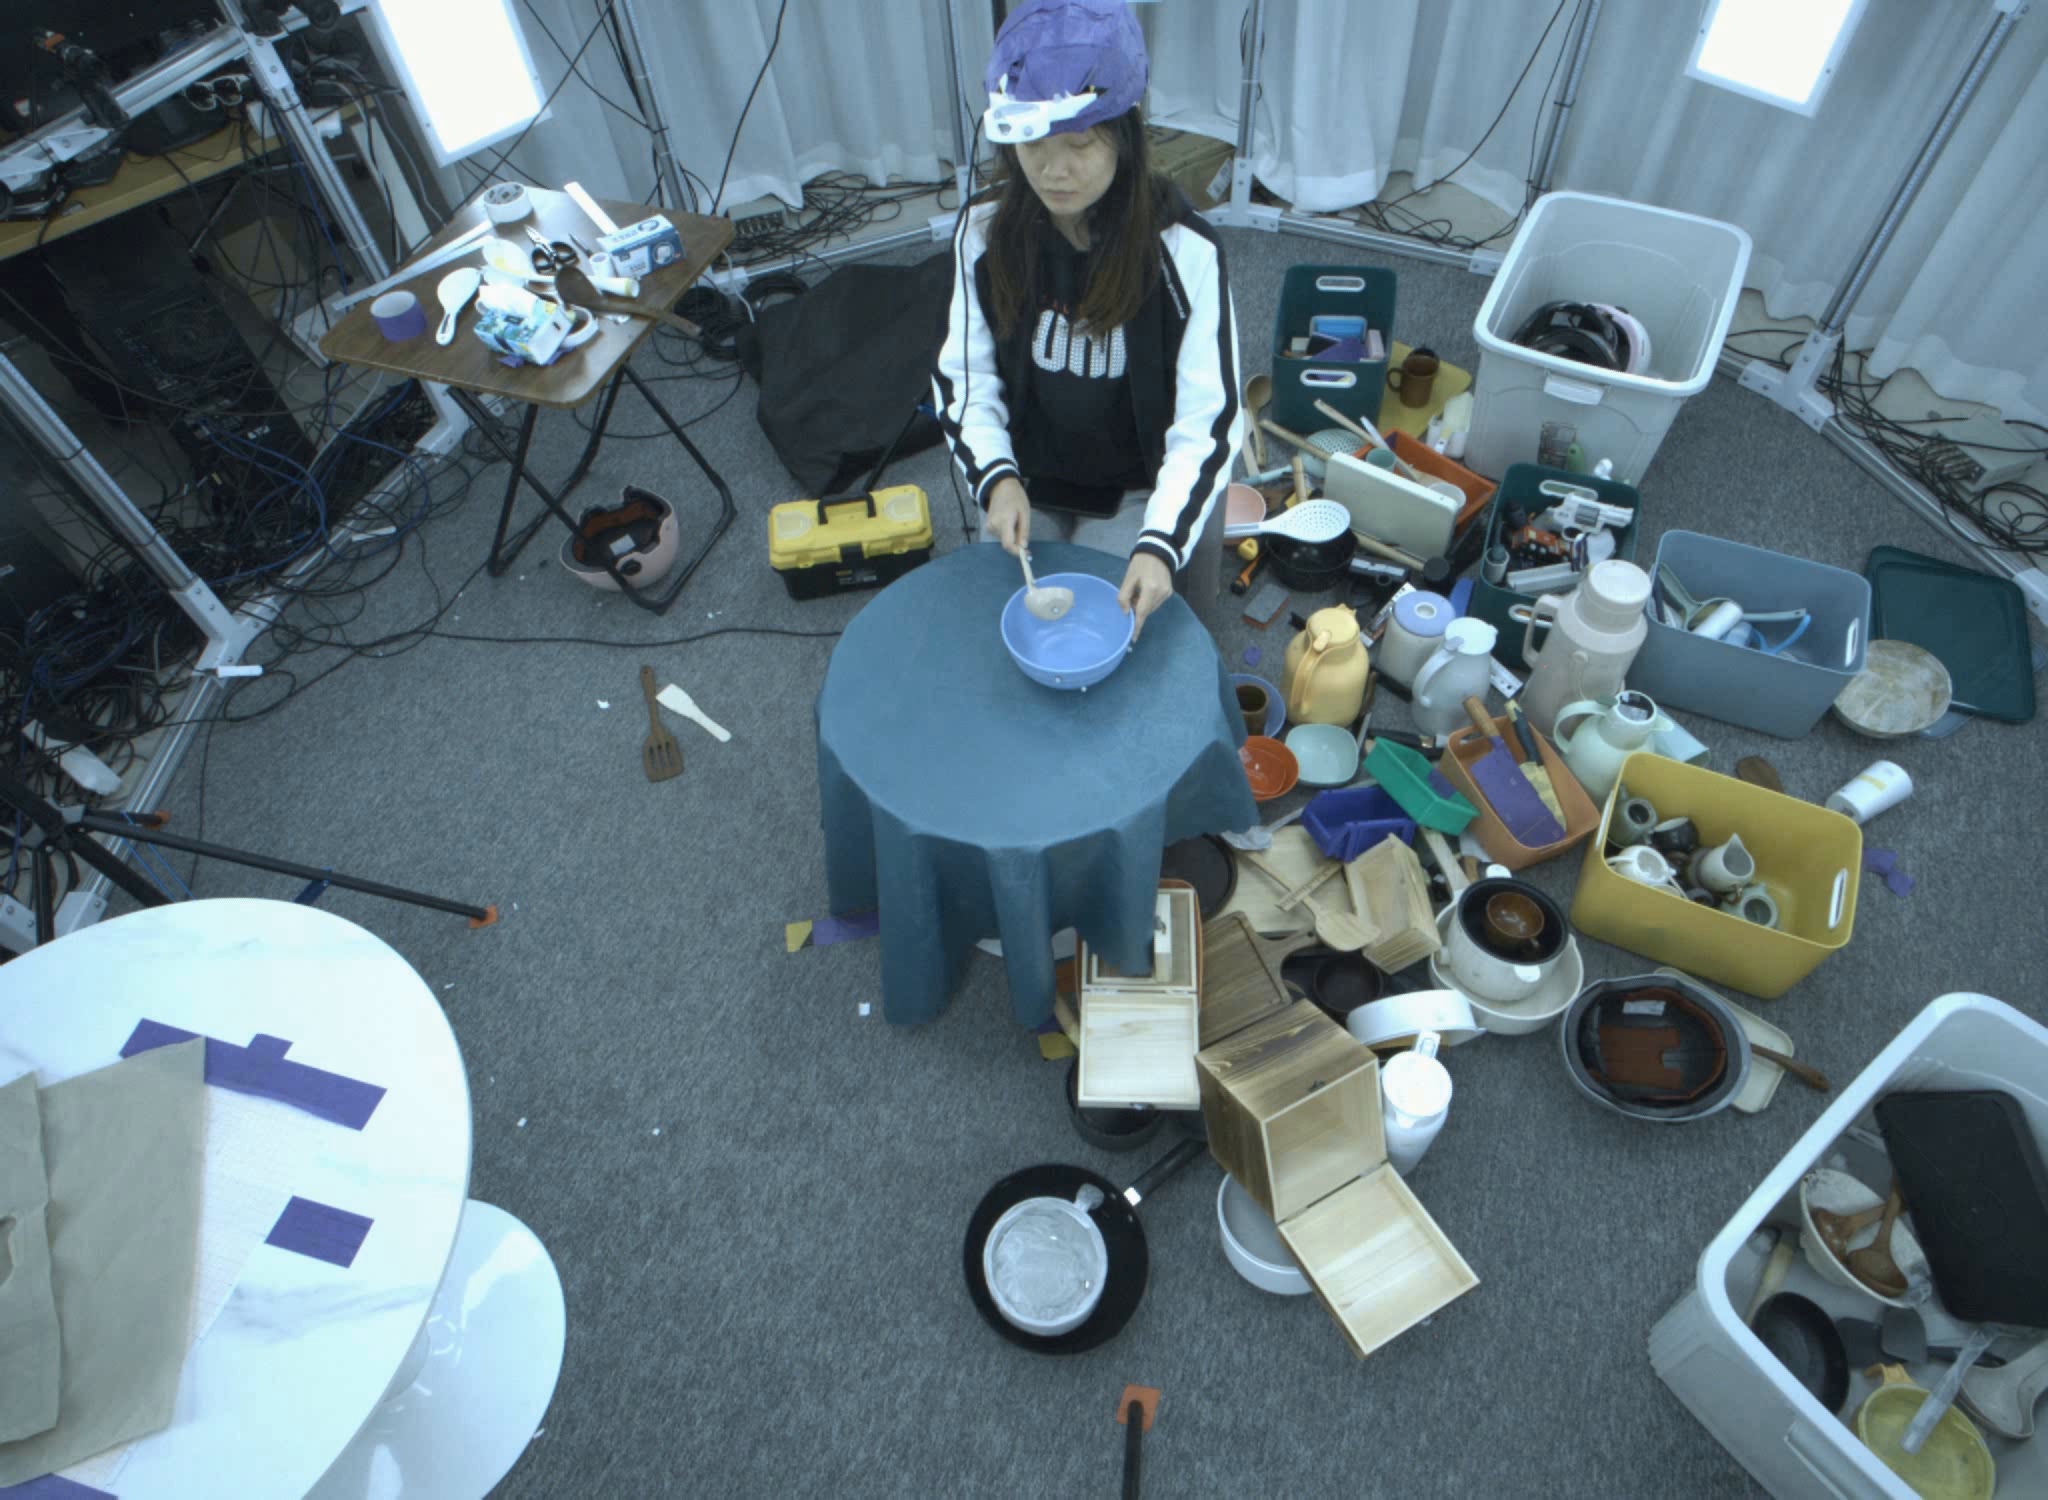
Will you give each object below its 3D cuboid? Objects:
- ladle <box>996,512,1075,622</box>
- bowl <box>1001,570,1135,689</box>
[{"bbox_3d":[0.010,-0.296,1.827,0.073,0.072,0.250,4,51,-31],"label":"ladle"},{"bbox_3d":[0.067,-0.165,1.842,0.196,0.096,0.194,0,58,2],"label":"bowl"}]
